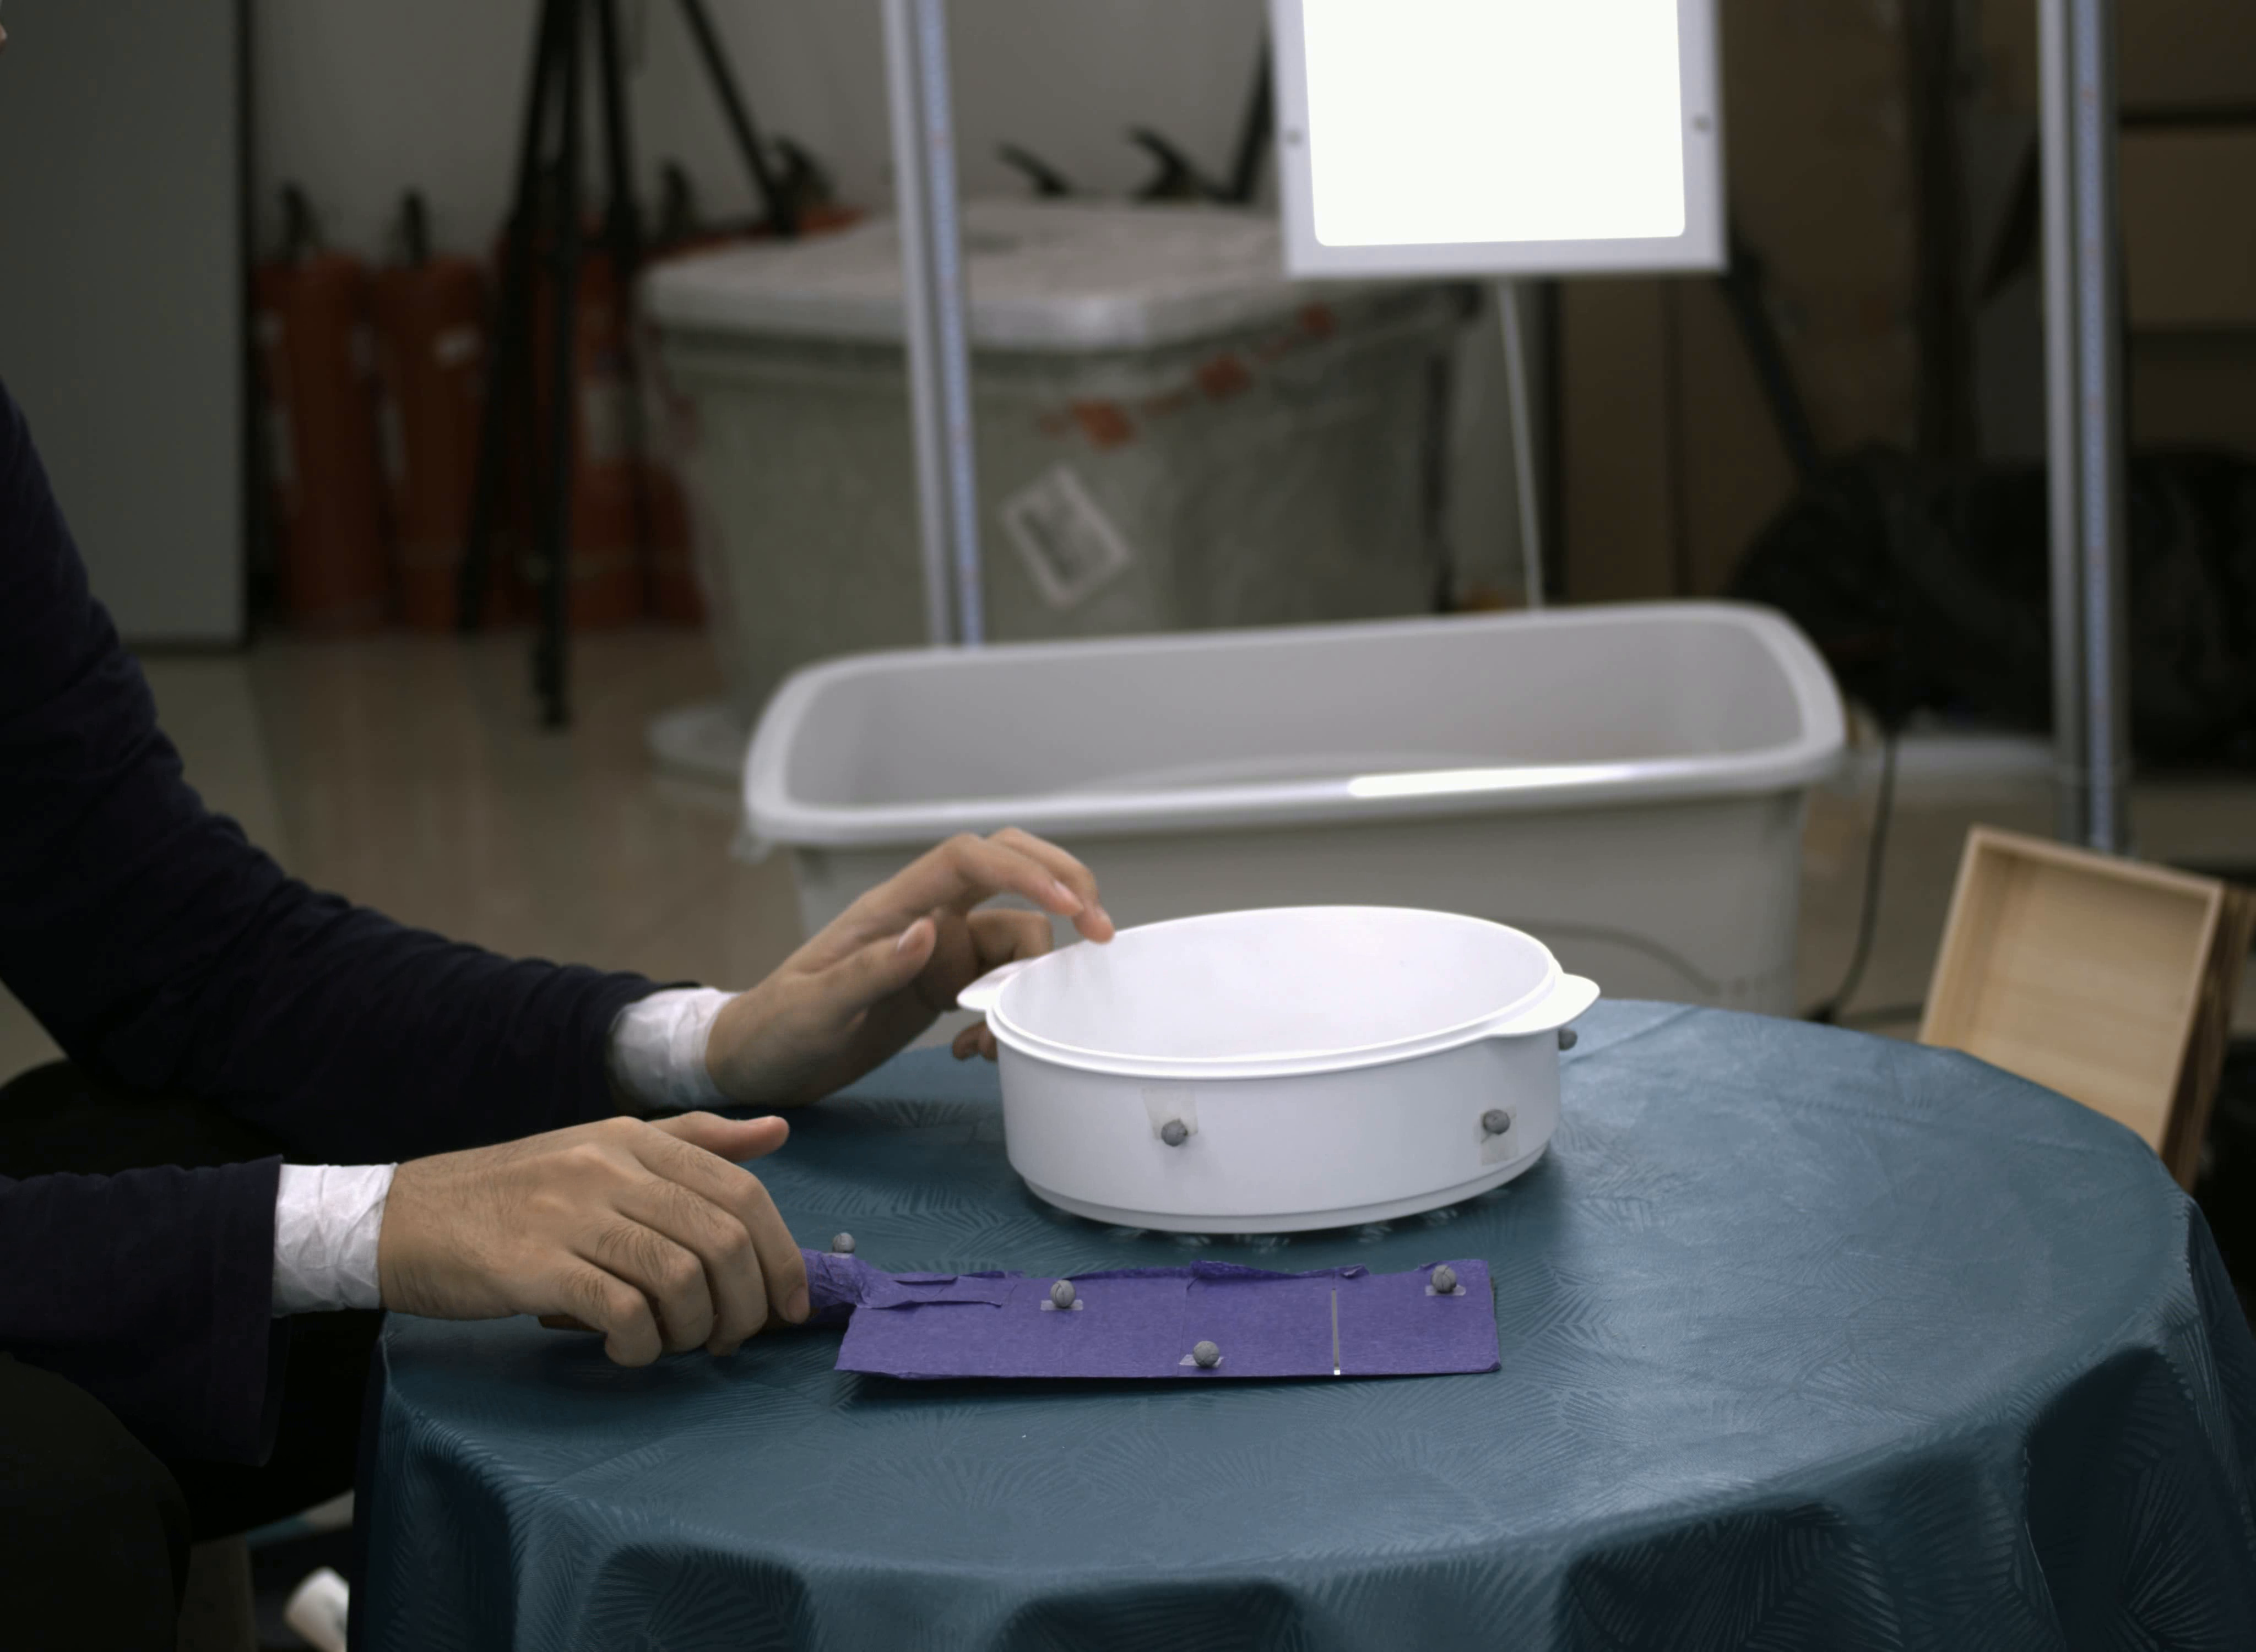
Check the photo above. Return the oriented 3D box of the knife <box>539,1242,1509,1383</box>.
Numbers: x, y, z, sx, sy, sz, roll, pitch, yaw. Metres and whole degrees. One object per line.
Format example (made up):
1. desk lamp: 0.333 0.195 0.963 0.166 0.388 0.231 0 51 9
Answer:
1. knife: -0.037 0.154 1.750 0.316 0.032 0.103 -3 14 6

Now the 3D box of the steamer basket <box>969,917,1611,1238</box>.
1. steamer basket: 0.058 0.087 1.909 0.234 0.069 0.198 -1 13 27
